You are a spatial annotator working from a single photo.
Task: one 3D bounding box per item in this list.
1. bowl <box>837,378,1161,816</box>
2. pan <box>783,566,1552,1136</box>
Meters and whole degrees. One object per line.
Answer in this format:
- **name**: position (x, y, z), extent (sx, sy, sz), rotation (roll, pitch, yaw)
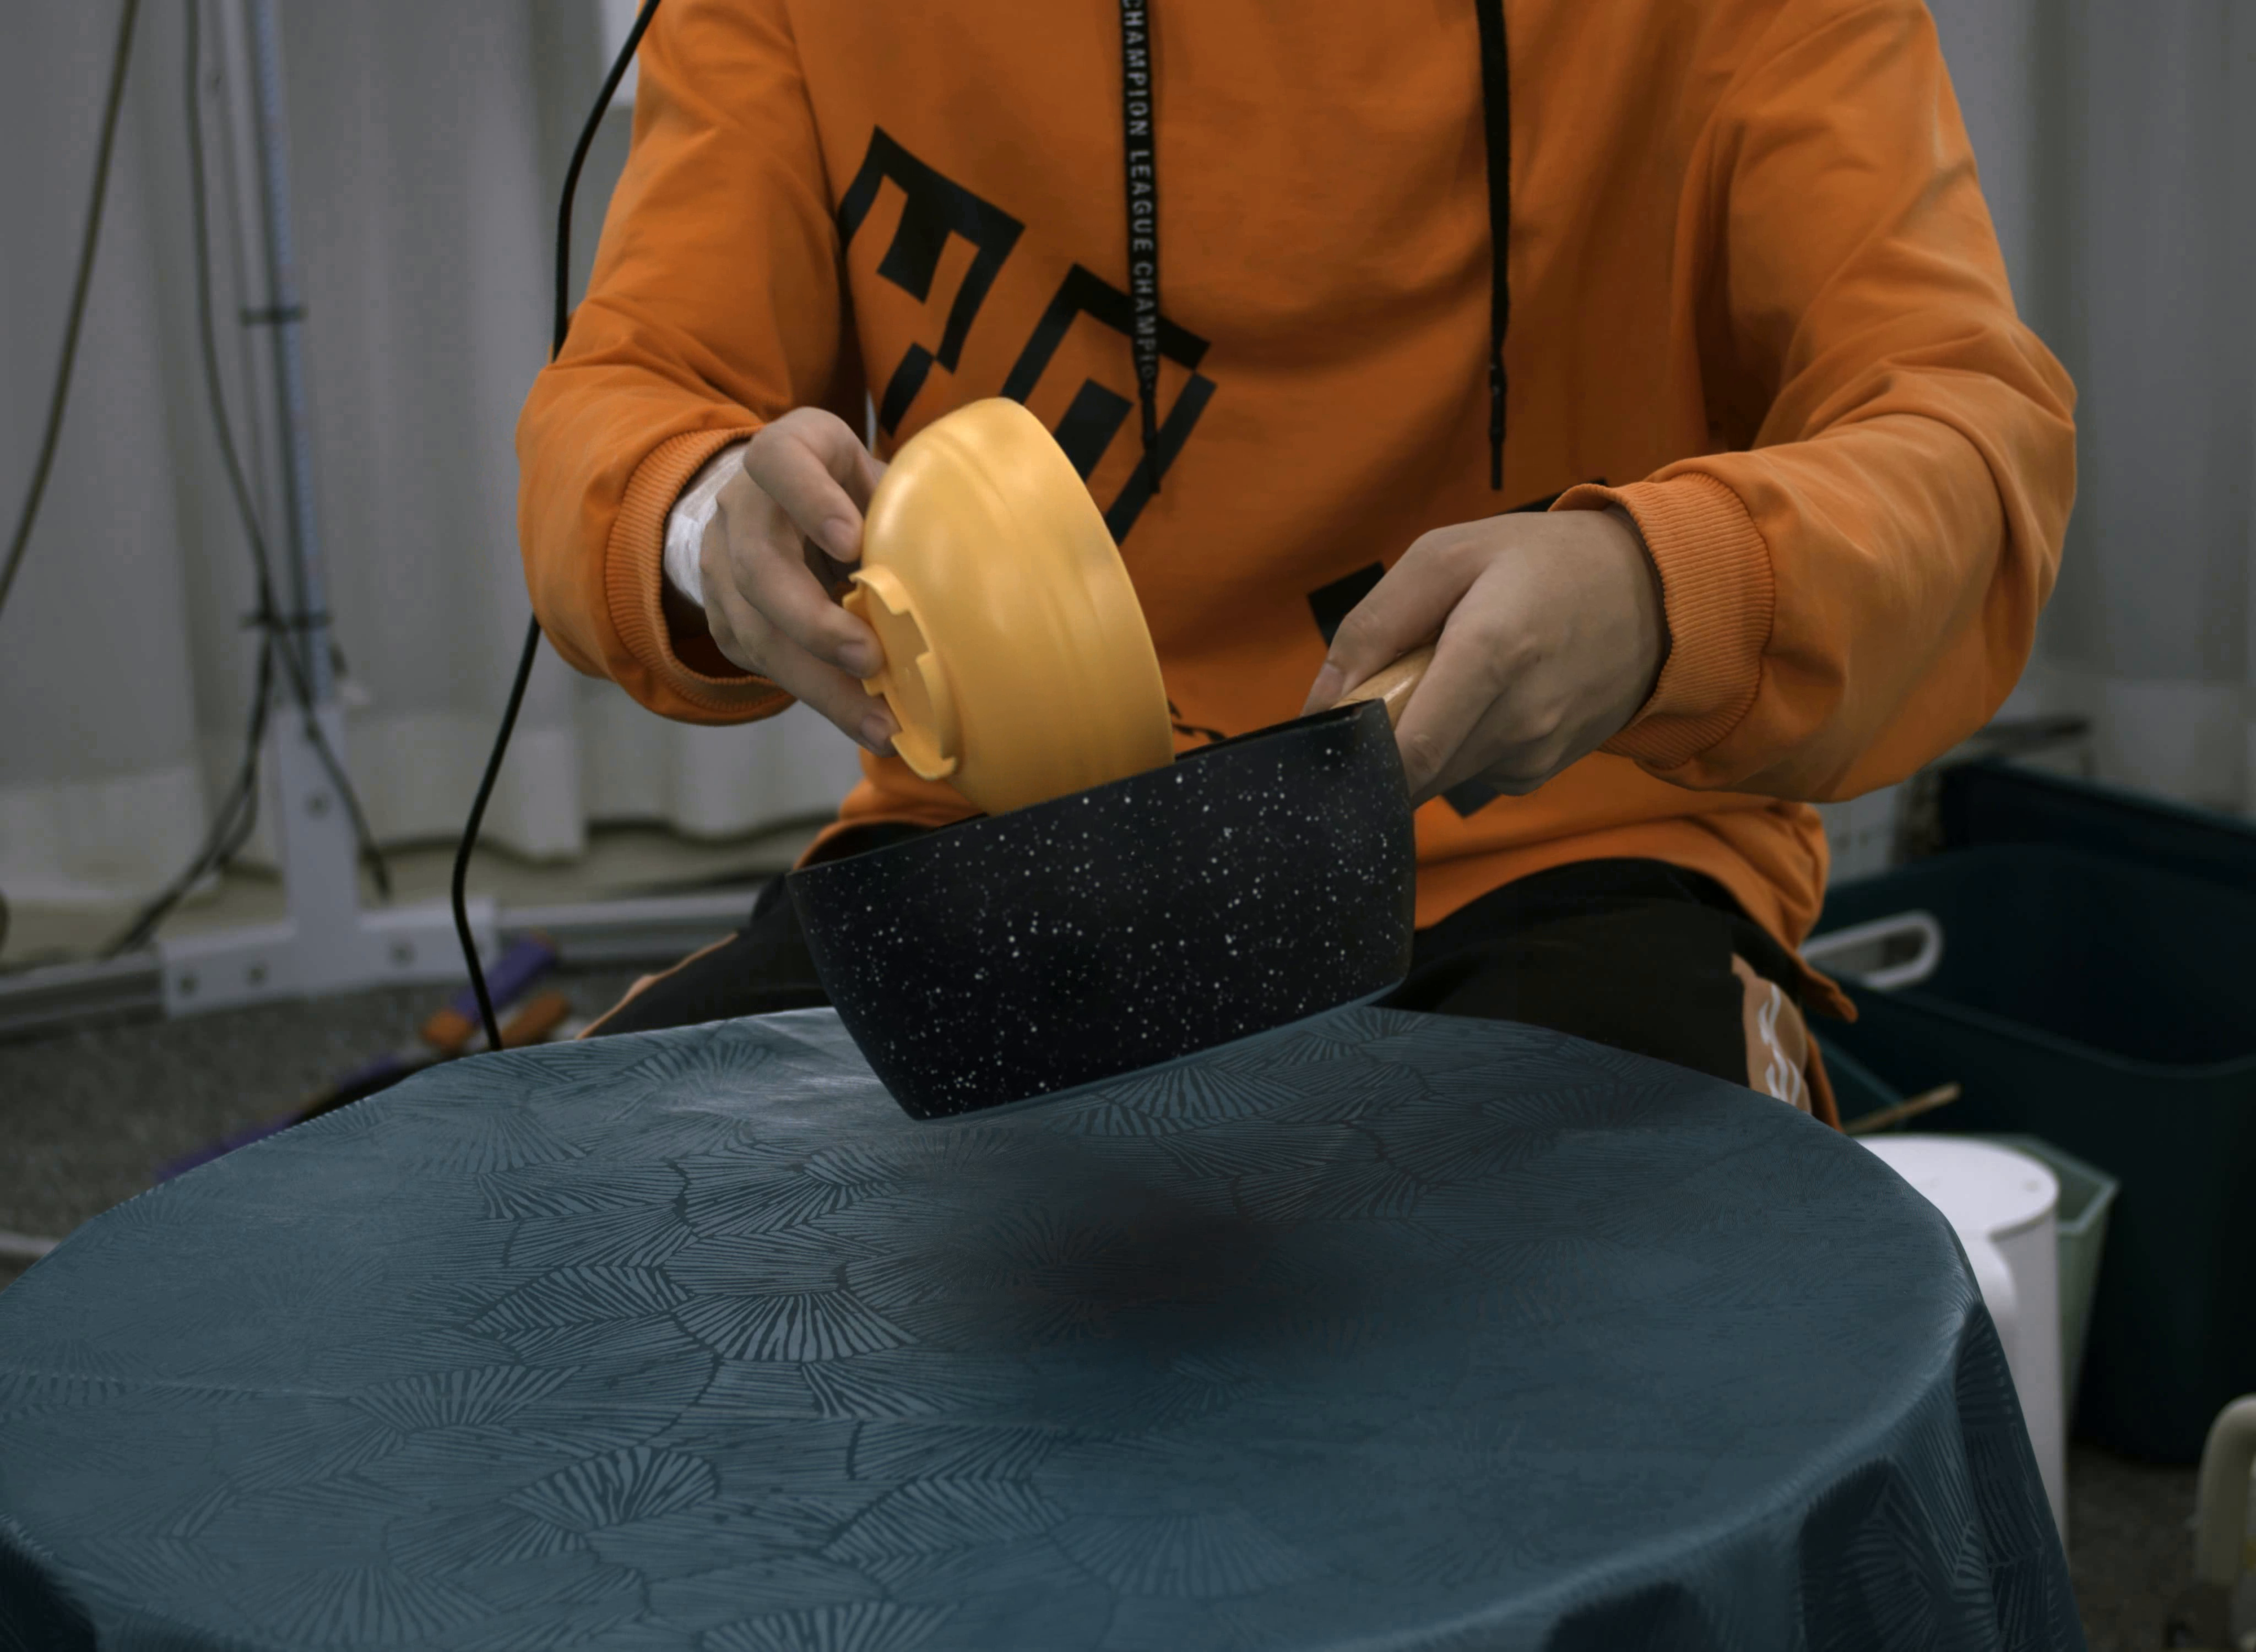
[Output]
- **bowl**: position (-0.047, -0.056, 1.641), extent (0.060, 0.144, 0.146), rotation (-21, 20, -17)
- **pan**: position (0.042, 0.002, 1.672), extent (0.207, 0.108, 0.342), rotation (-17, 2, 38)
